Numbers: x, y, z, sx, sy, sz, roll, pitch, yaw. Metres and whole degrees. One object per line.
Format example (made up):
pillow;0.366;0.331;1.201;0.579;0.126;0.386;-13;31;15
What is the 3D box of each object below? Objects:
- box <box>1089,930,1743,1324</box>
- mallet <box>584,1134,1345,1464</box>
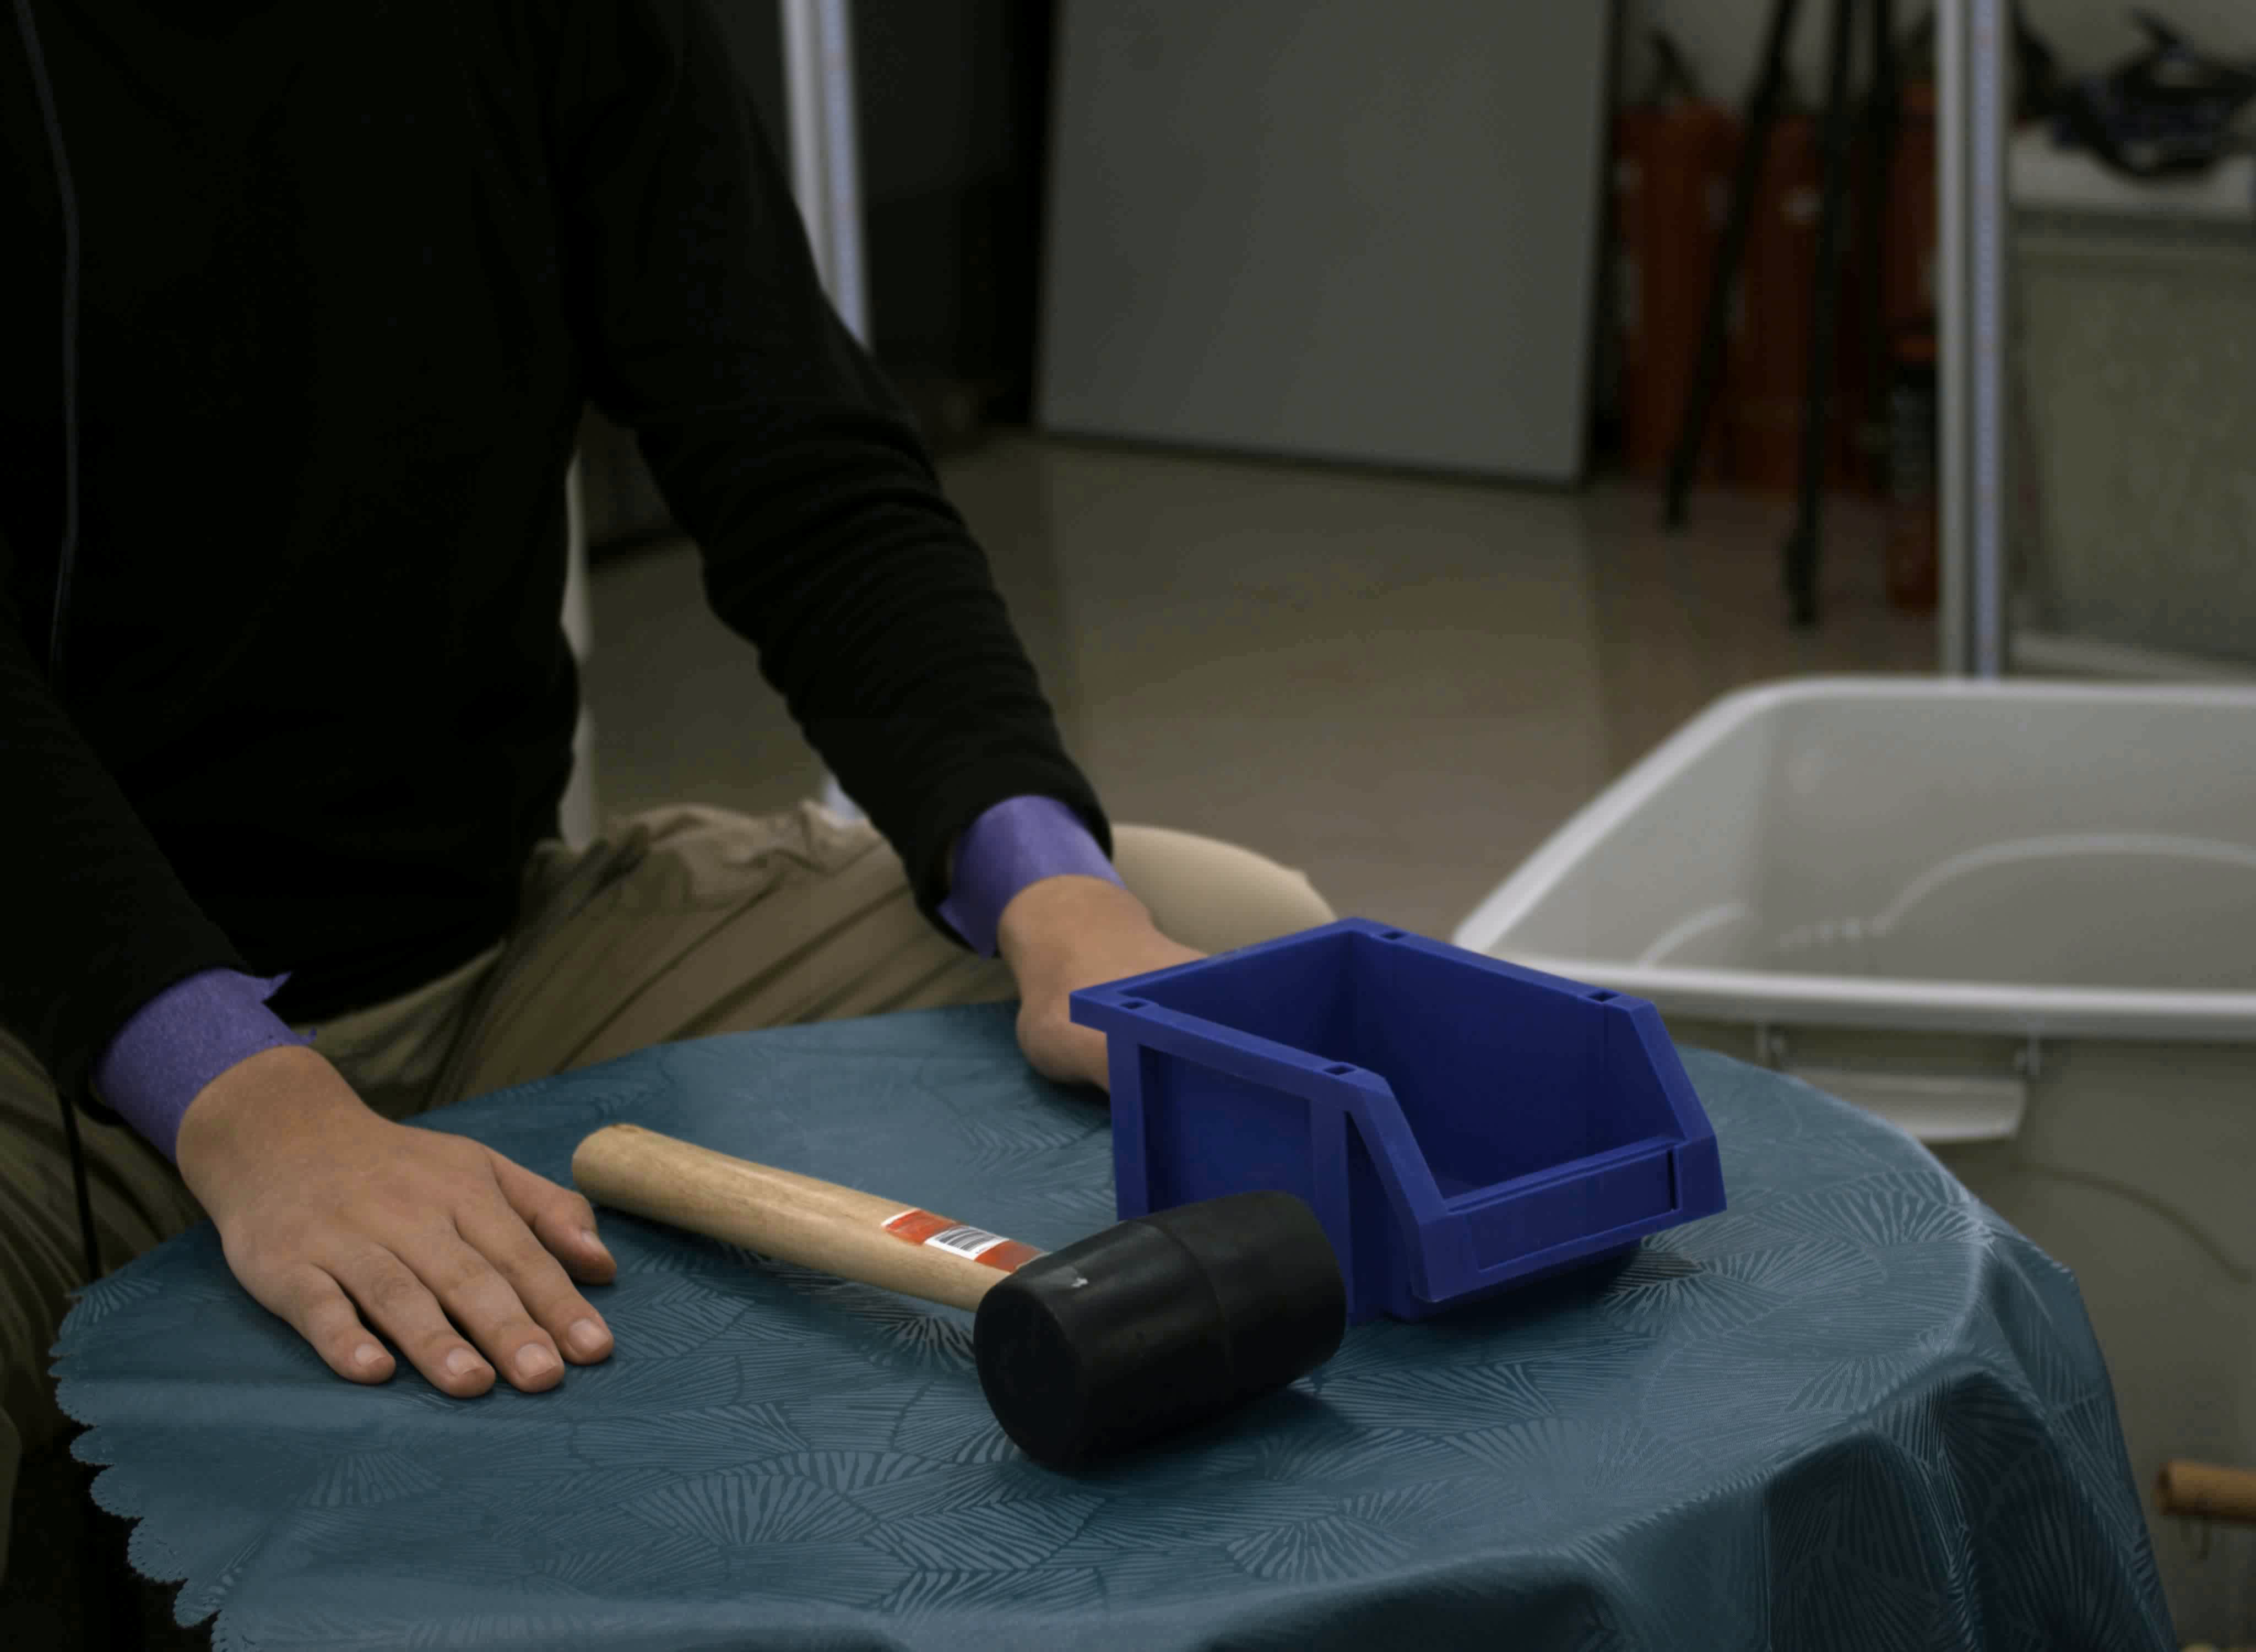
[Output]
box;0.090;0.094;1.685;0.122;0.083;0.181;-13;13;-32
mallet;-0.072;0.124;1.660;0.099;0.065;0.342;-13;16;-33
